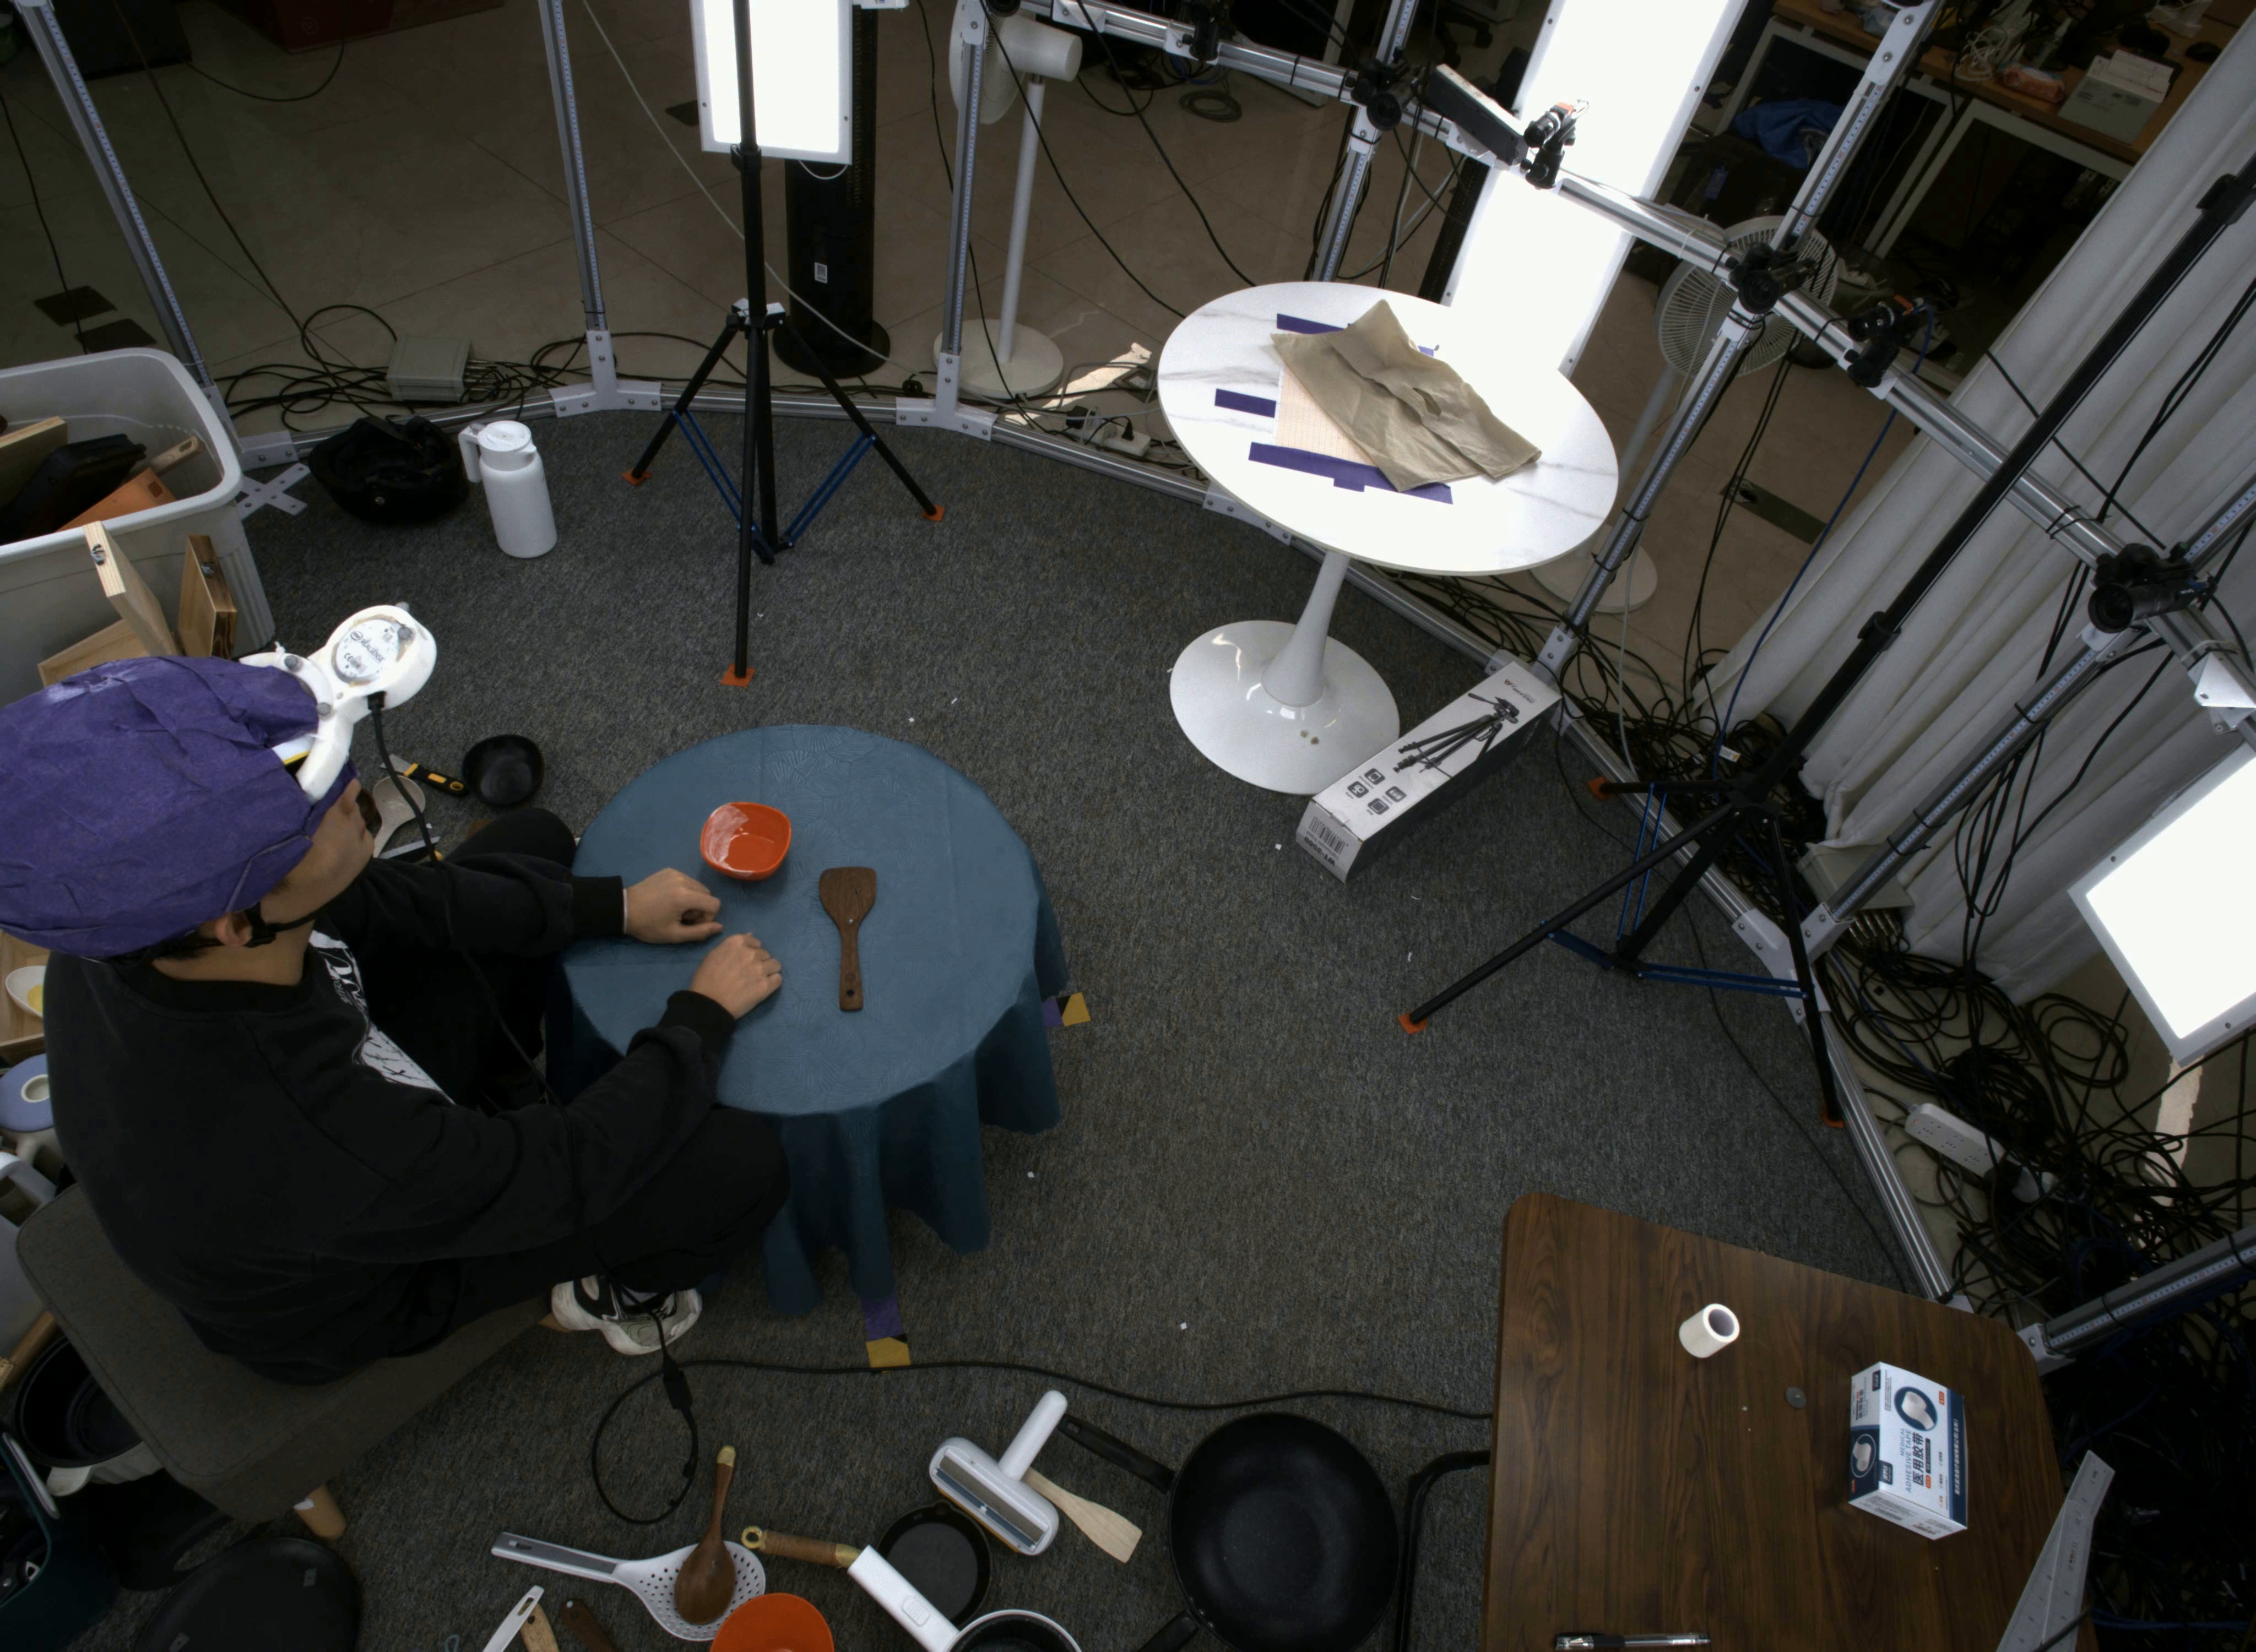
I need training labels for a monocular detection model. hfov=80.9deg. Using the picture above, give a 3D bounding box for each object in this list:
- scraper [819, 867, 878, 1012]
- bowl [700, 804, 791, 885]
[{"bbox_3d":[-0.351,0.139,1.639,0.076,0.011,0.207,-1,55,-14],"label":"scraper"},{"bbox_3d":[-0.490,0.031,1.659,0.119,0.052,0.117,10,51,-10],"label":"bowl"}]
